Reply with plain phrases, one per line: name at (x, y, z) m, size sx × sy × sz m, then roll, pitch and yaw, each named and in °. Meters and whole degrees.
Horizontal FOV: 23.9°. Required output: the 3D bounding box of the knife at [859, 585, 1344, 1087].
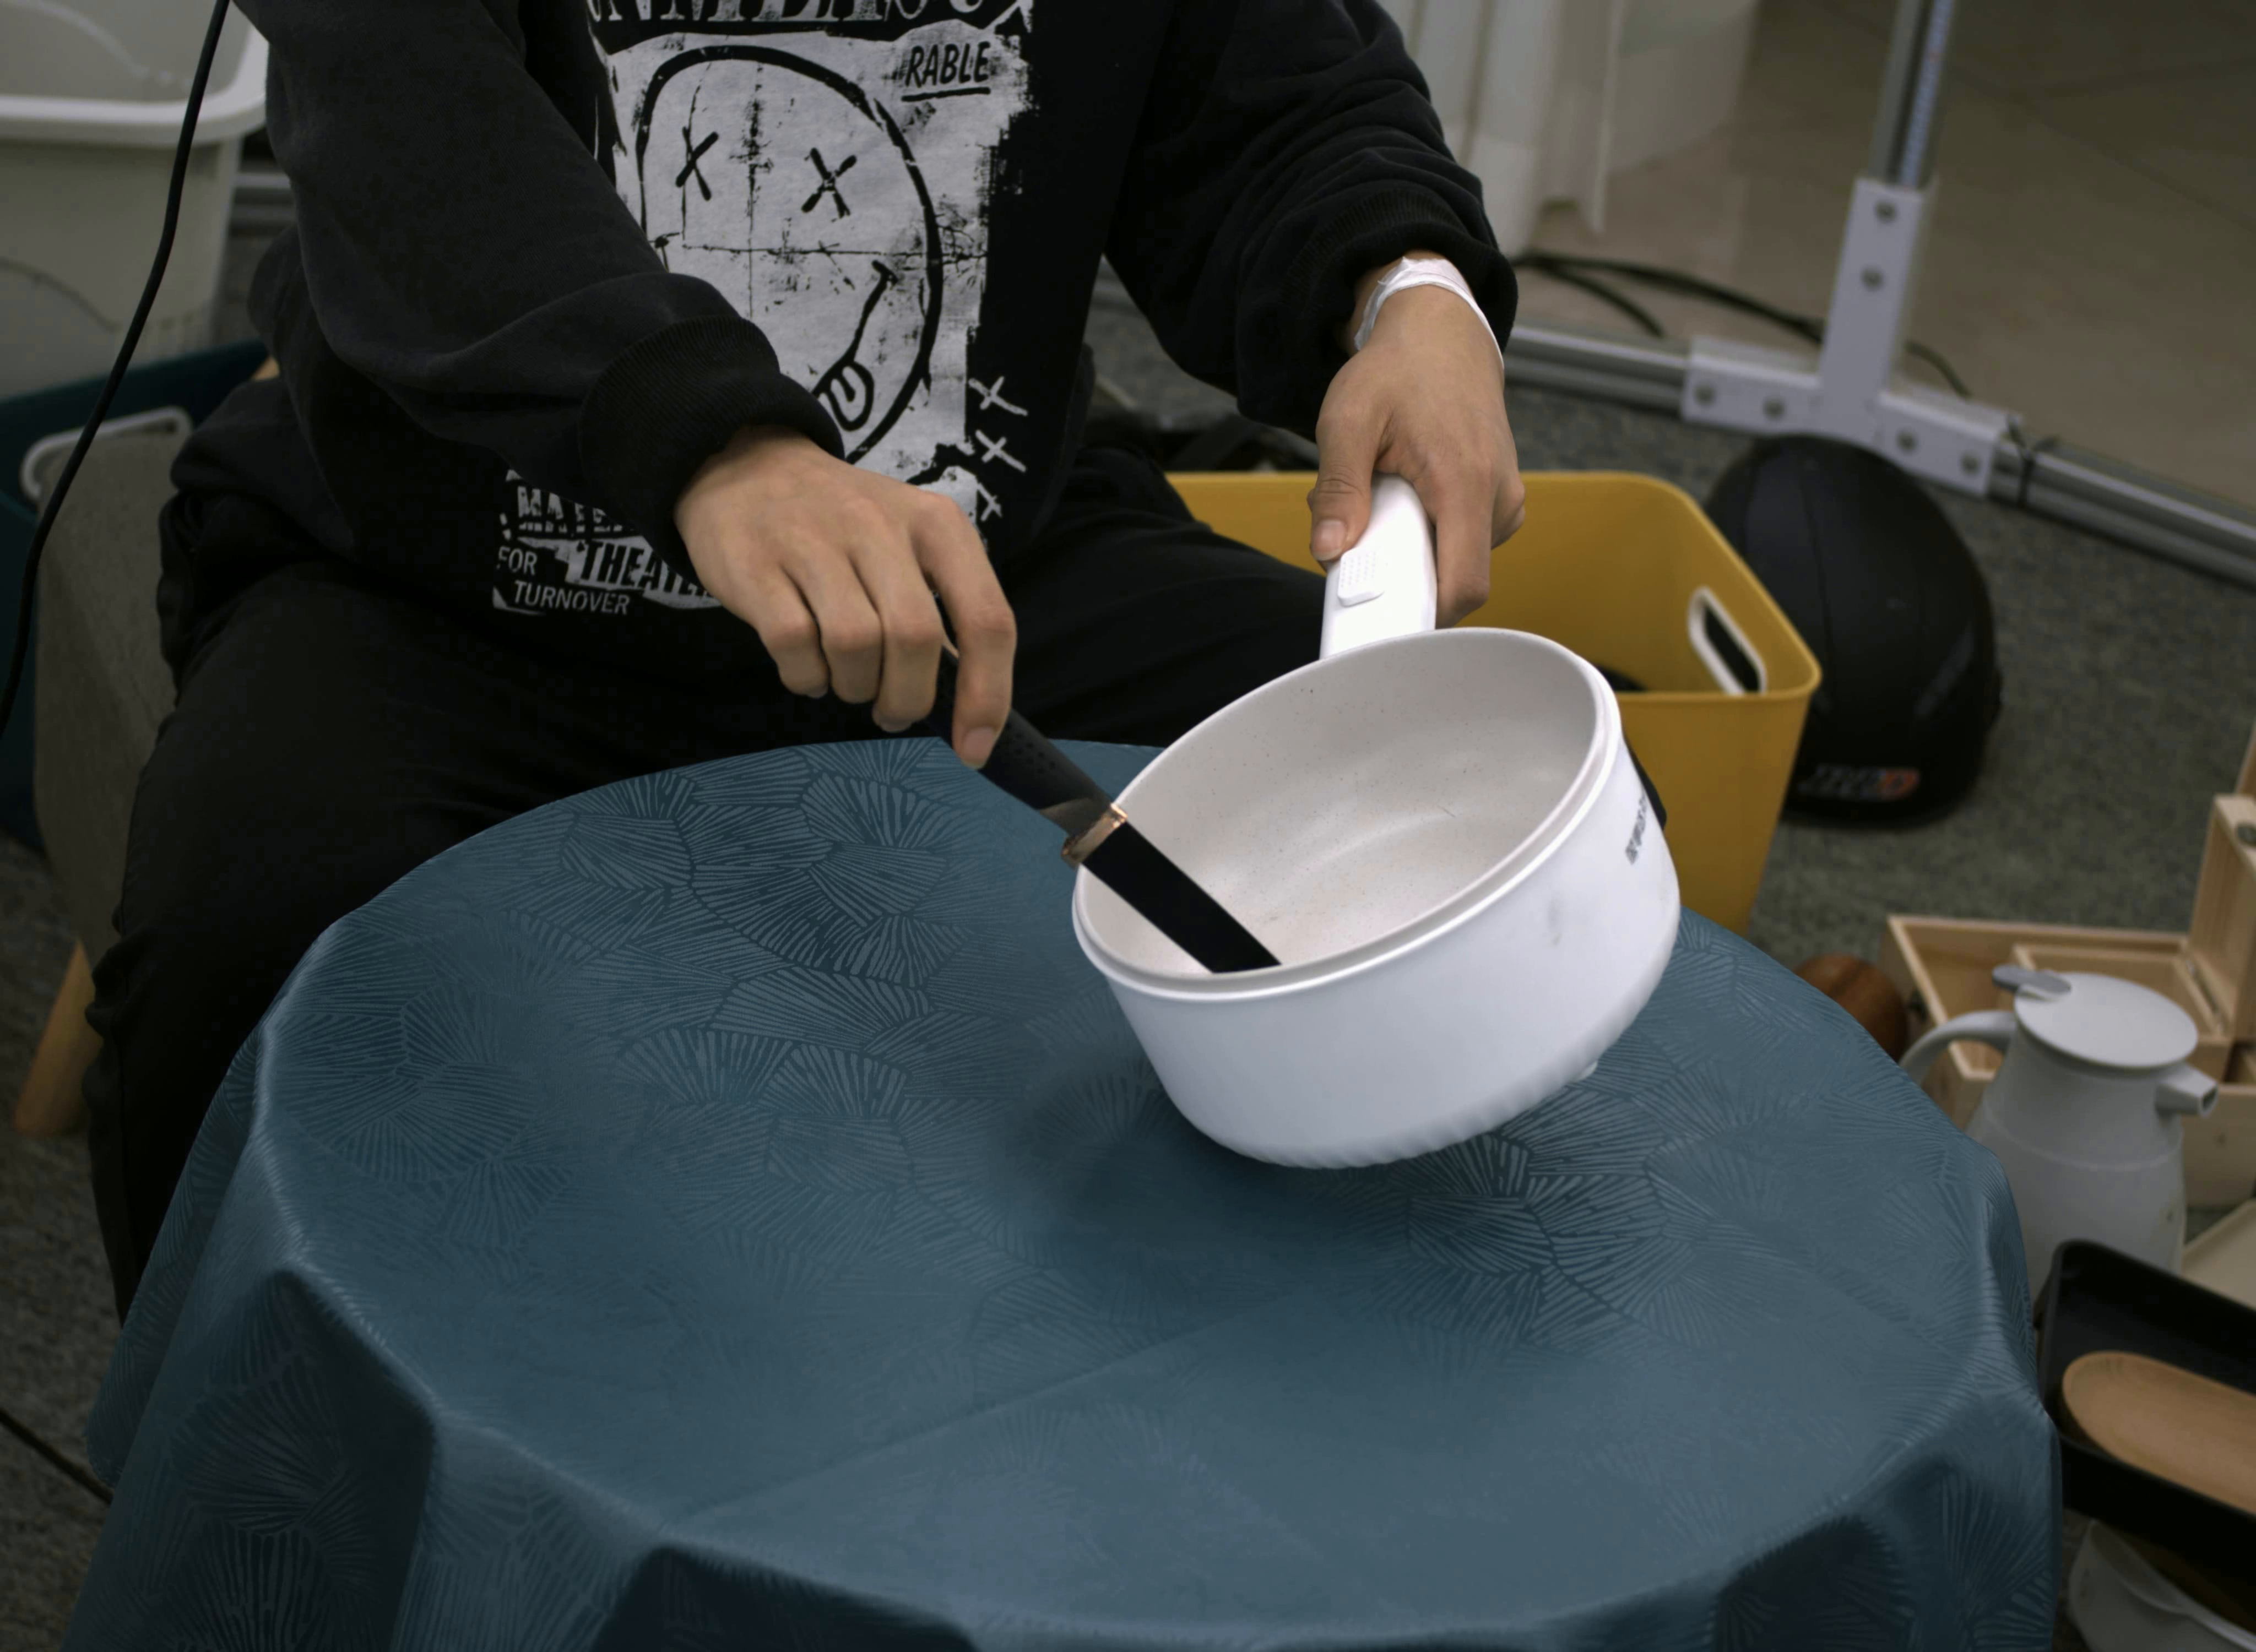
knife at (-0.005, 0.004, 1.736) m, size 0.026 × 0.225 × 0.017 m, roll -49°, pitch 10°, yaw -17°

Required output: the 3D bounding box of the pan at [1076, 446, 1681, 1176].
pan at (0.098, -0.009, 1.901) m, size 0.201 × 0.101 × 0.357 m, roll -19°, pitch 28°, yaw 17°
